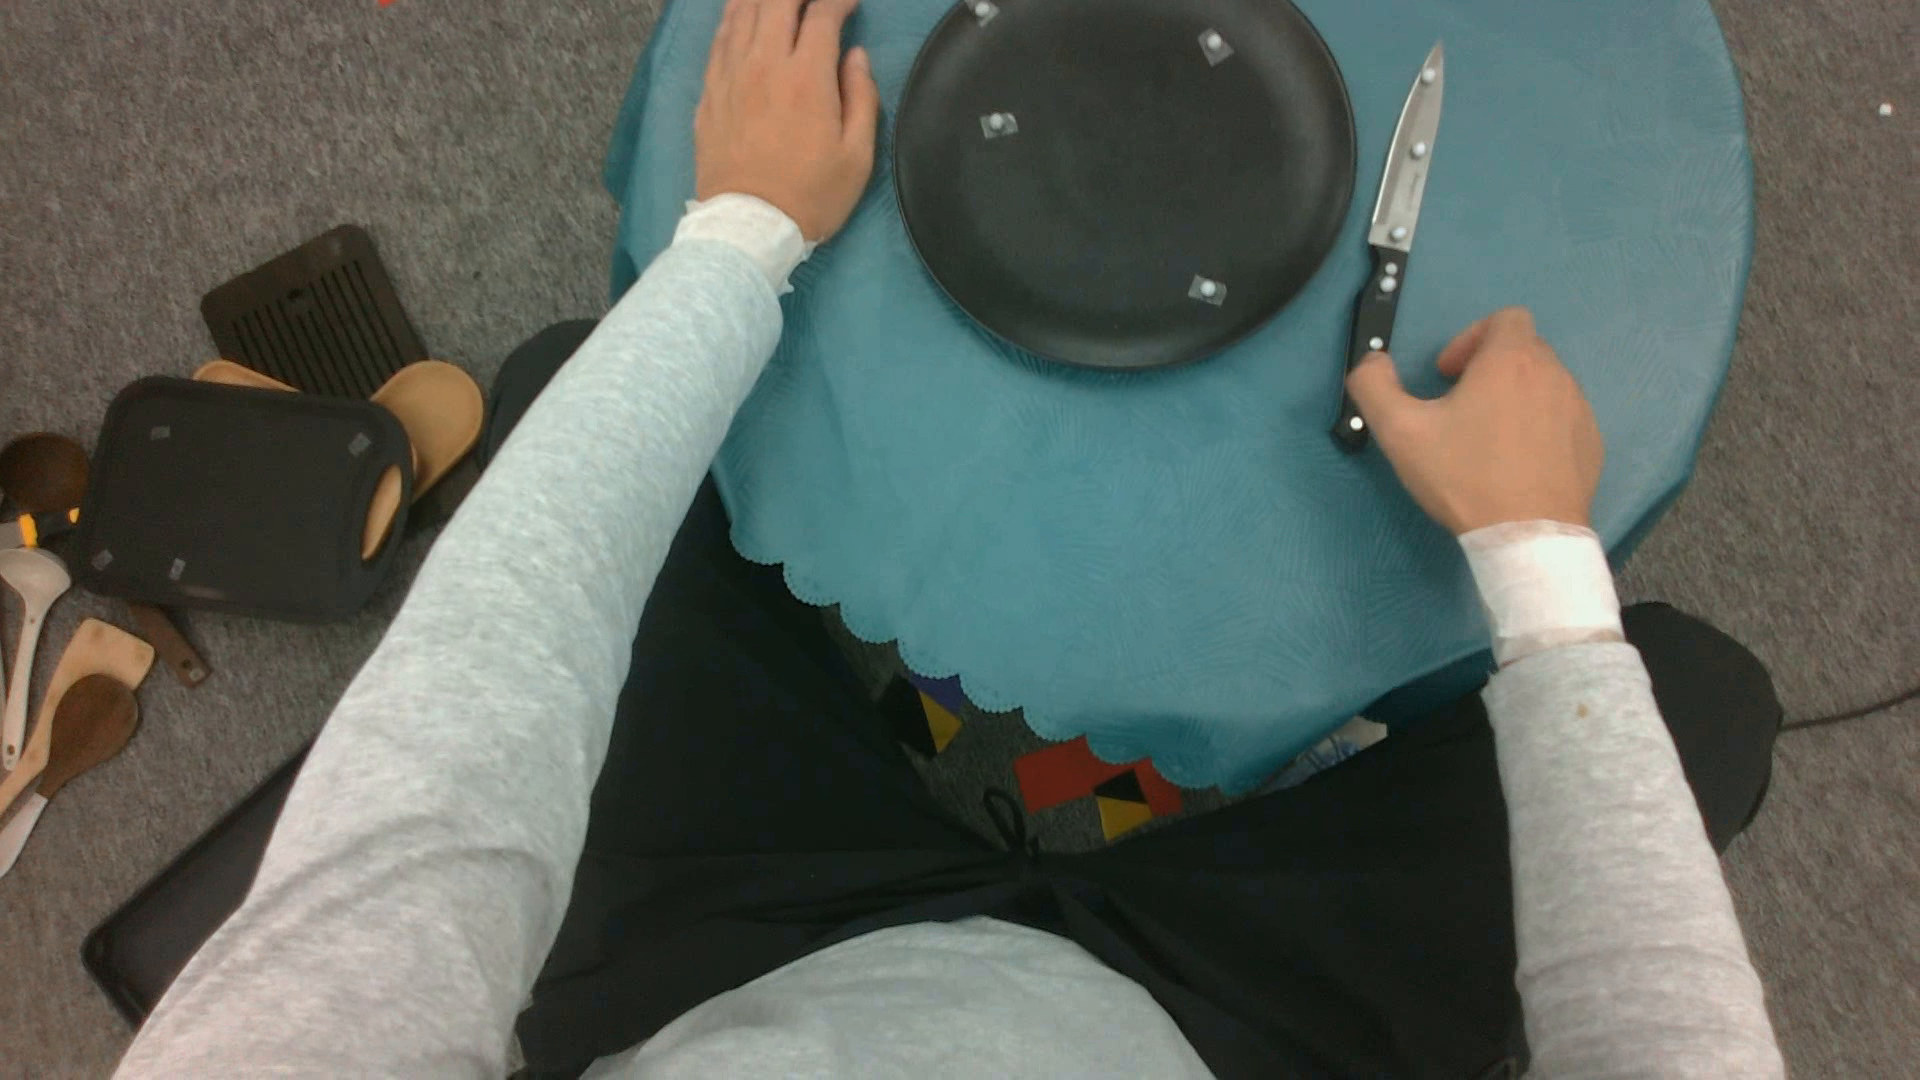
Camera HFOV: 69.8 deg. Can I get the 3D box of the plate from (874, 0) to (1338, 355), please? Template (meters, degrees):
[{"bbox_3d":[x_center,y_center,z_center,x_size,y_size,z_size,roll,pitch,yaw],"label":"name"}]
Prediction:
[{"bbox_3d":[0.077,-0.214,0.731,0.244,0.023,0.244,0,81,1],"label":"plate"}]

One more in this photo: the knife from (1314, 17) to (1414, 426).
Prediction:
[{"bbox_3d":[0.219,-0.171,0.729,0.024,0.016,0.238,13,79,3],"label":"knife"}]
